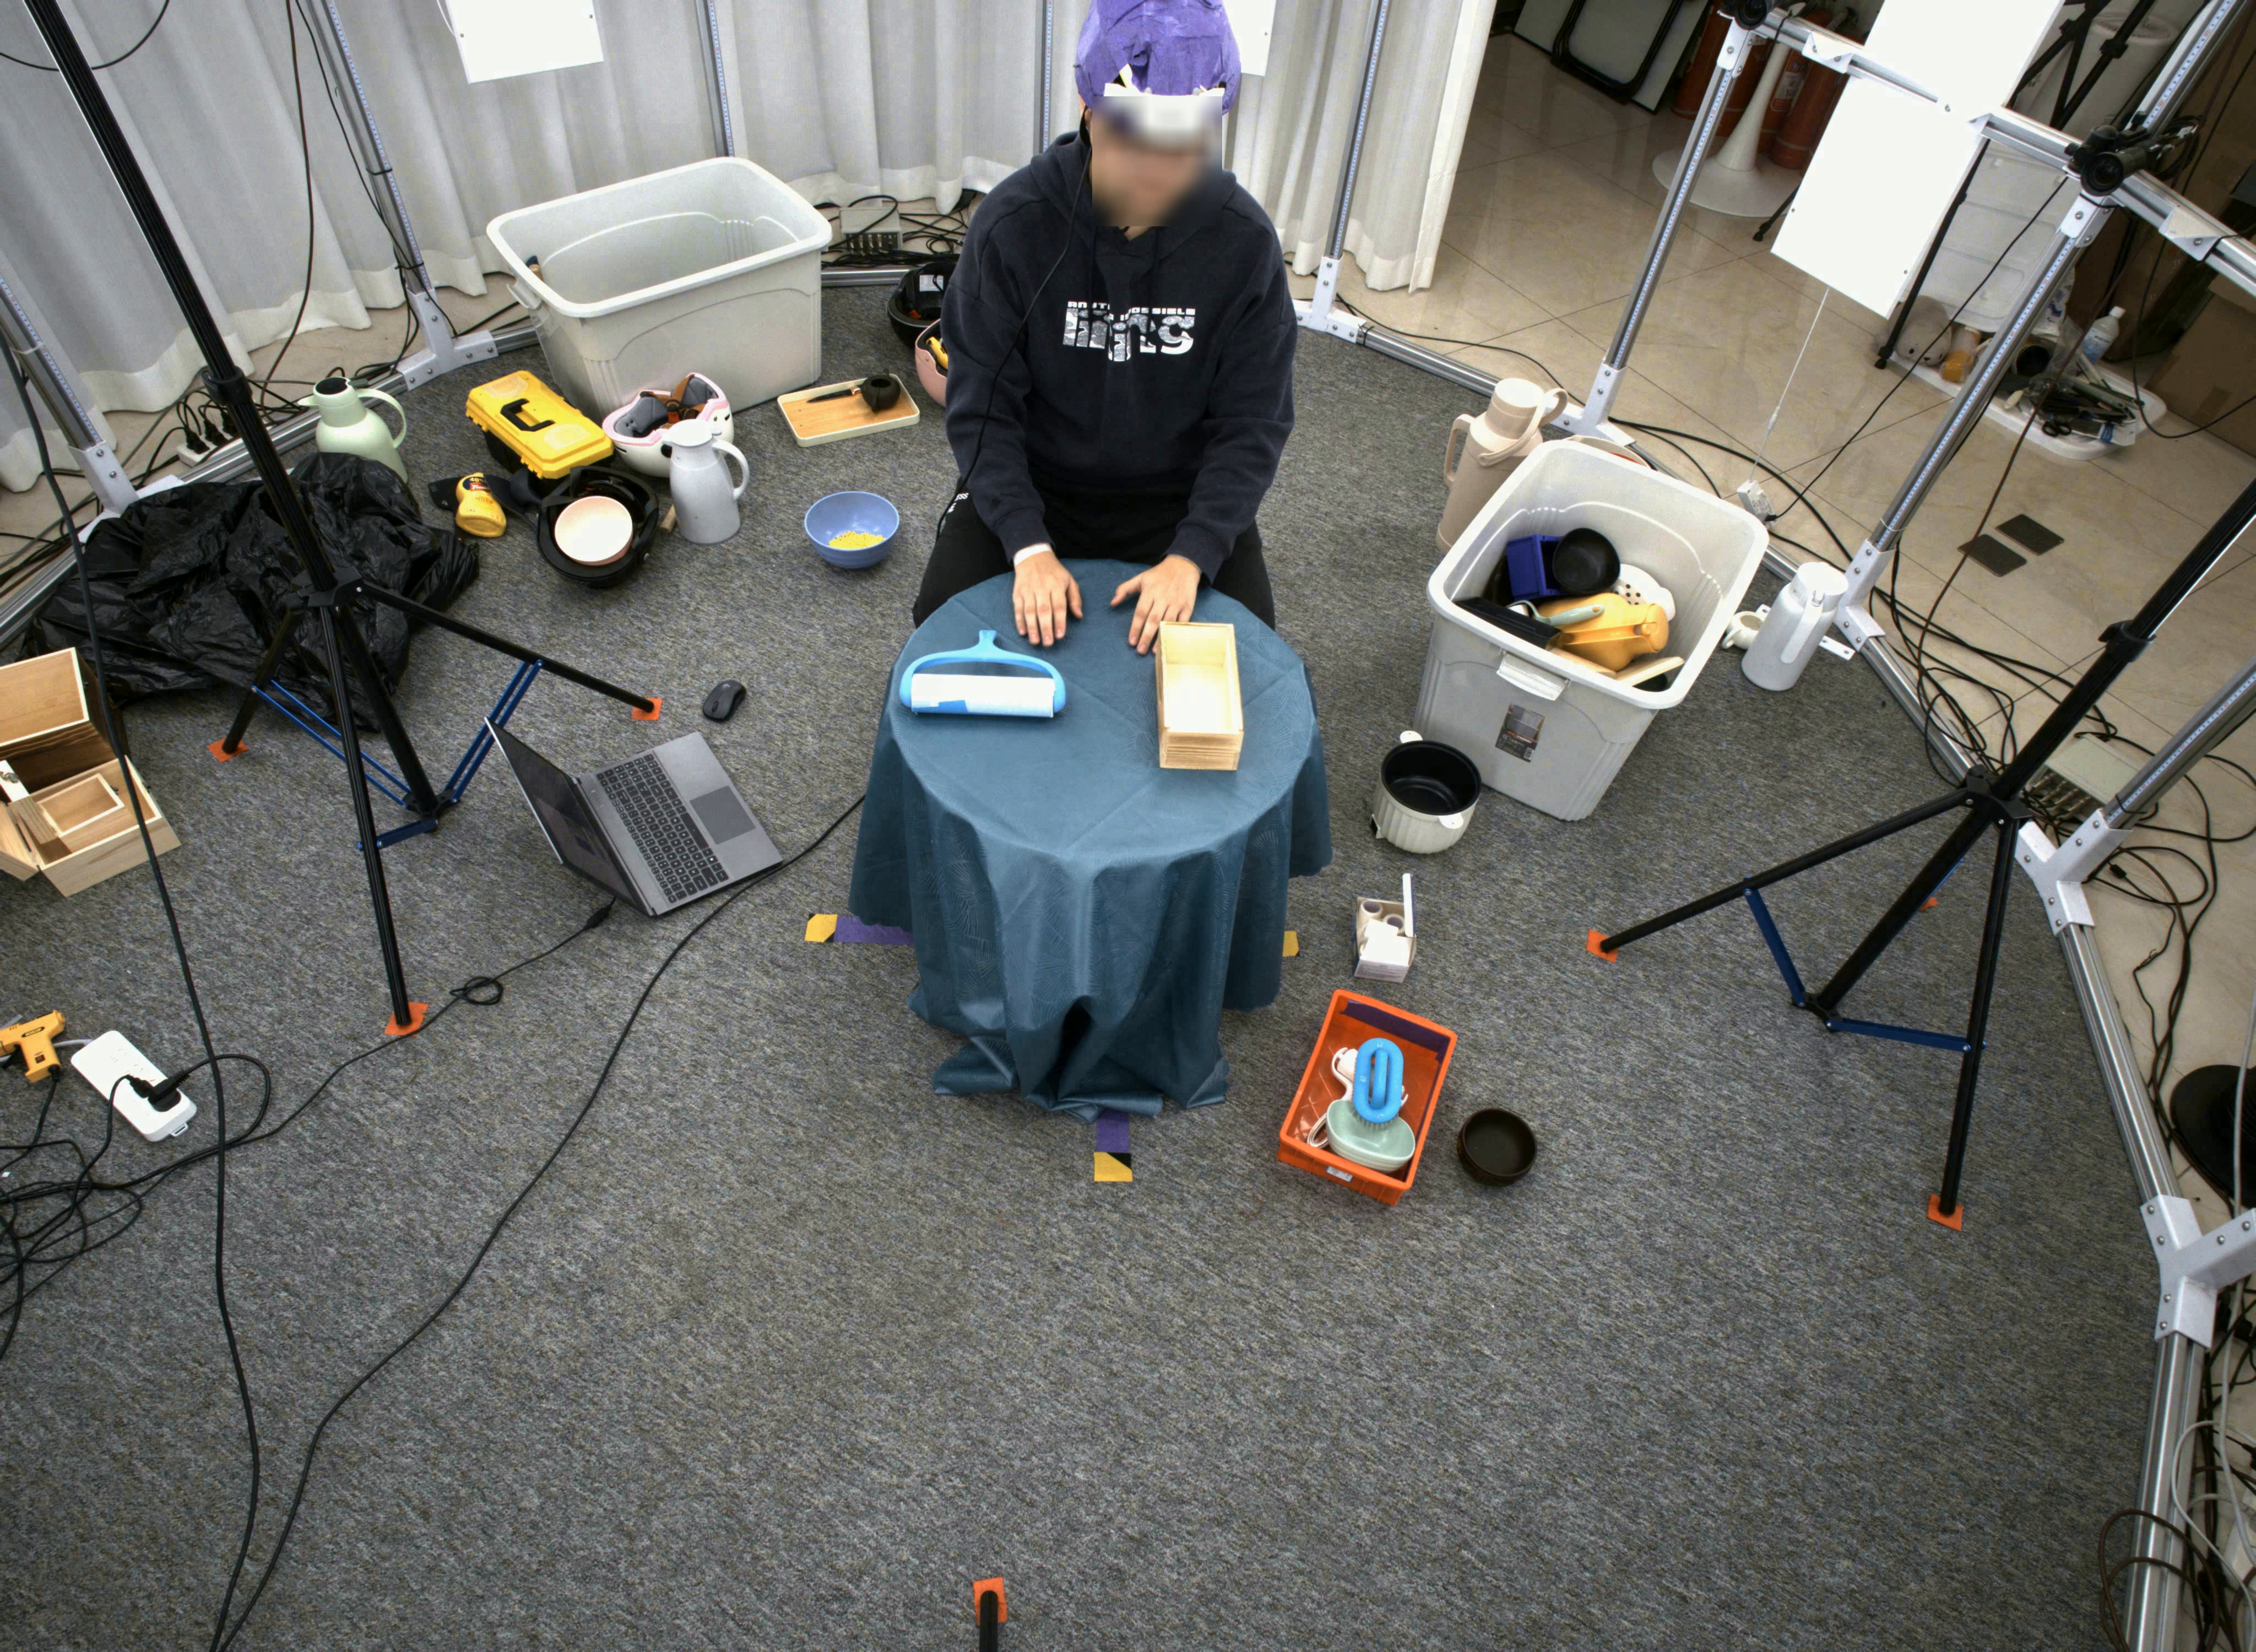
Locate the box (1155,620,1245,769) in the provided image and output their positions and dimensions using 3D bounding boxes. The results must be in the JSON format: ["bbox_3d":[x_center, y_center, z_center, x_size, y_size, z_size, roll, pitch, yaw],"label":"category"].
[{"bbox_3d":[0.097,-0.185,1.782,0.107,0.078,0.217,1,49,-4],"label":"box"}]

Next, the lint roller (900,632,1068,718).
[{"bbox_3d":[-0.200,-0.227,1.808,0.228,0.066,0.185,-1,51,-3],"label":"lint roller"}]
